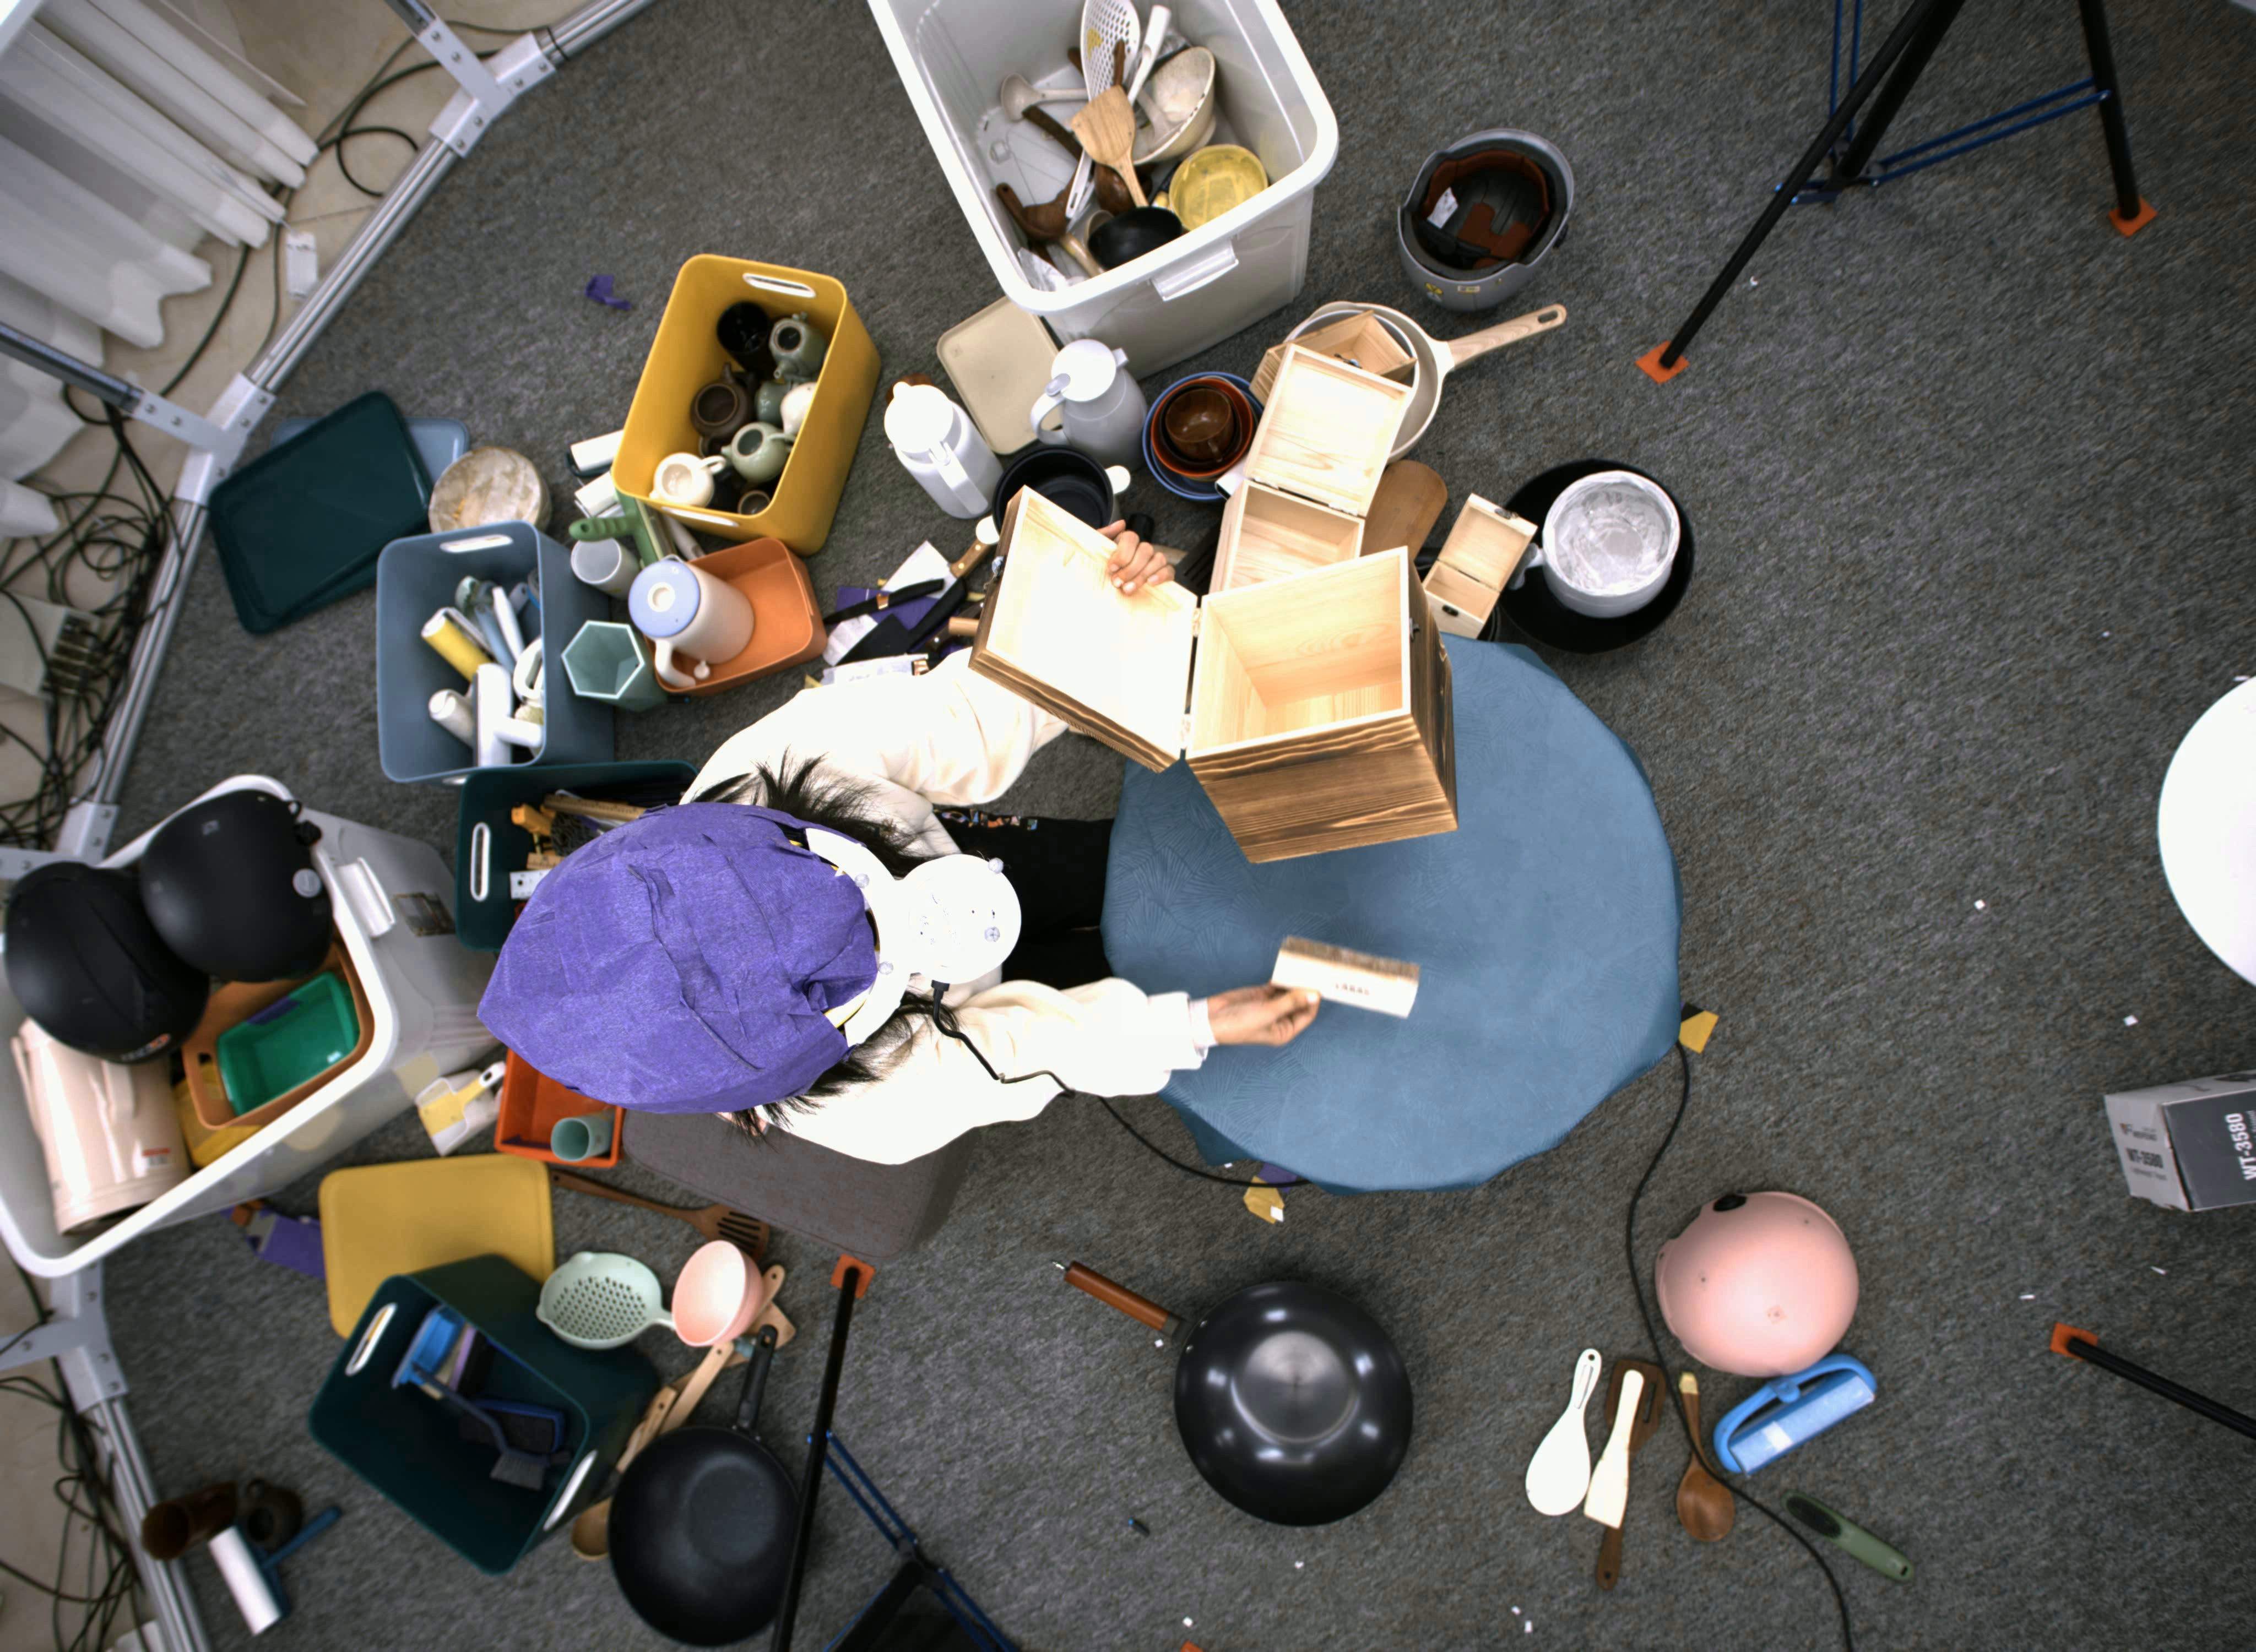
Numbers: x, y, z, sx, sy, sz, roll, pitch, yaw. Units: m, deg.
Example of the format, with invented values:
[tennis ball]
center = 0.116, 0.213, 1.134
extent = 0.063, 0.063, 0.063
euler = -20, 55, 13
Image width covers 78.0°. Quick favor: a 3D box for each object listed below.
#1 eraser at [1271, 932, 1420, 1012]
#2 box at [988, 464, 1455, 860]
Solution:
[eraser]
center = 0.215, 0.143, 1.367
extent = 0.139, 0.058, 0.028
euler = 14, 56, 5
[box]
center = 0.098, -0.154, 1.219
extent = 0.325, 0.381, 0.203
euler = -9, 53, 22
